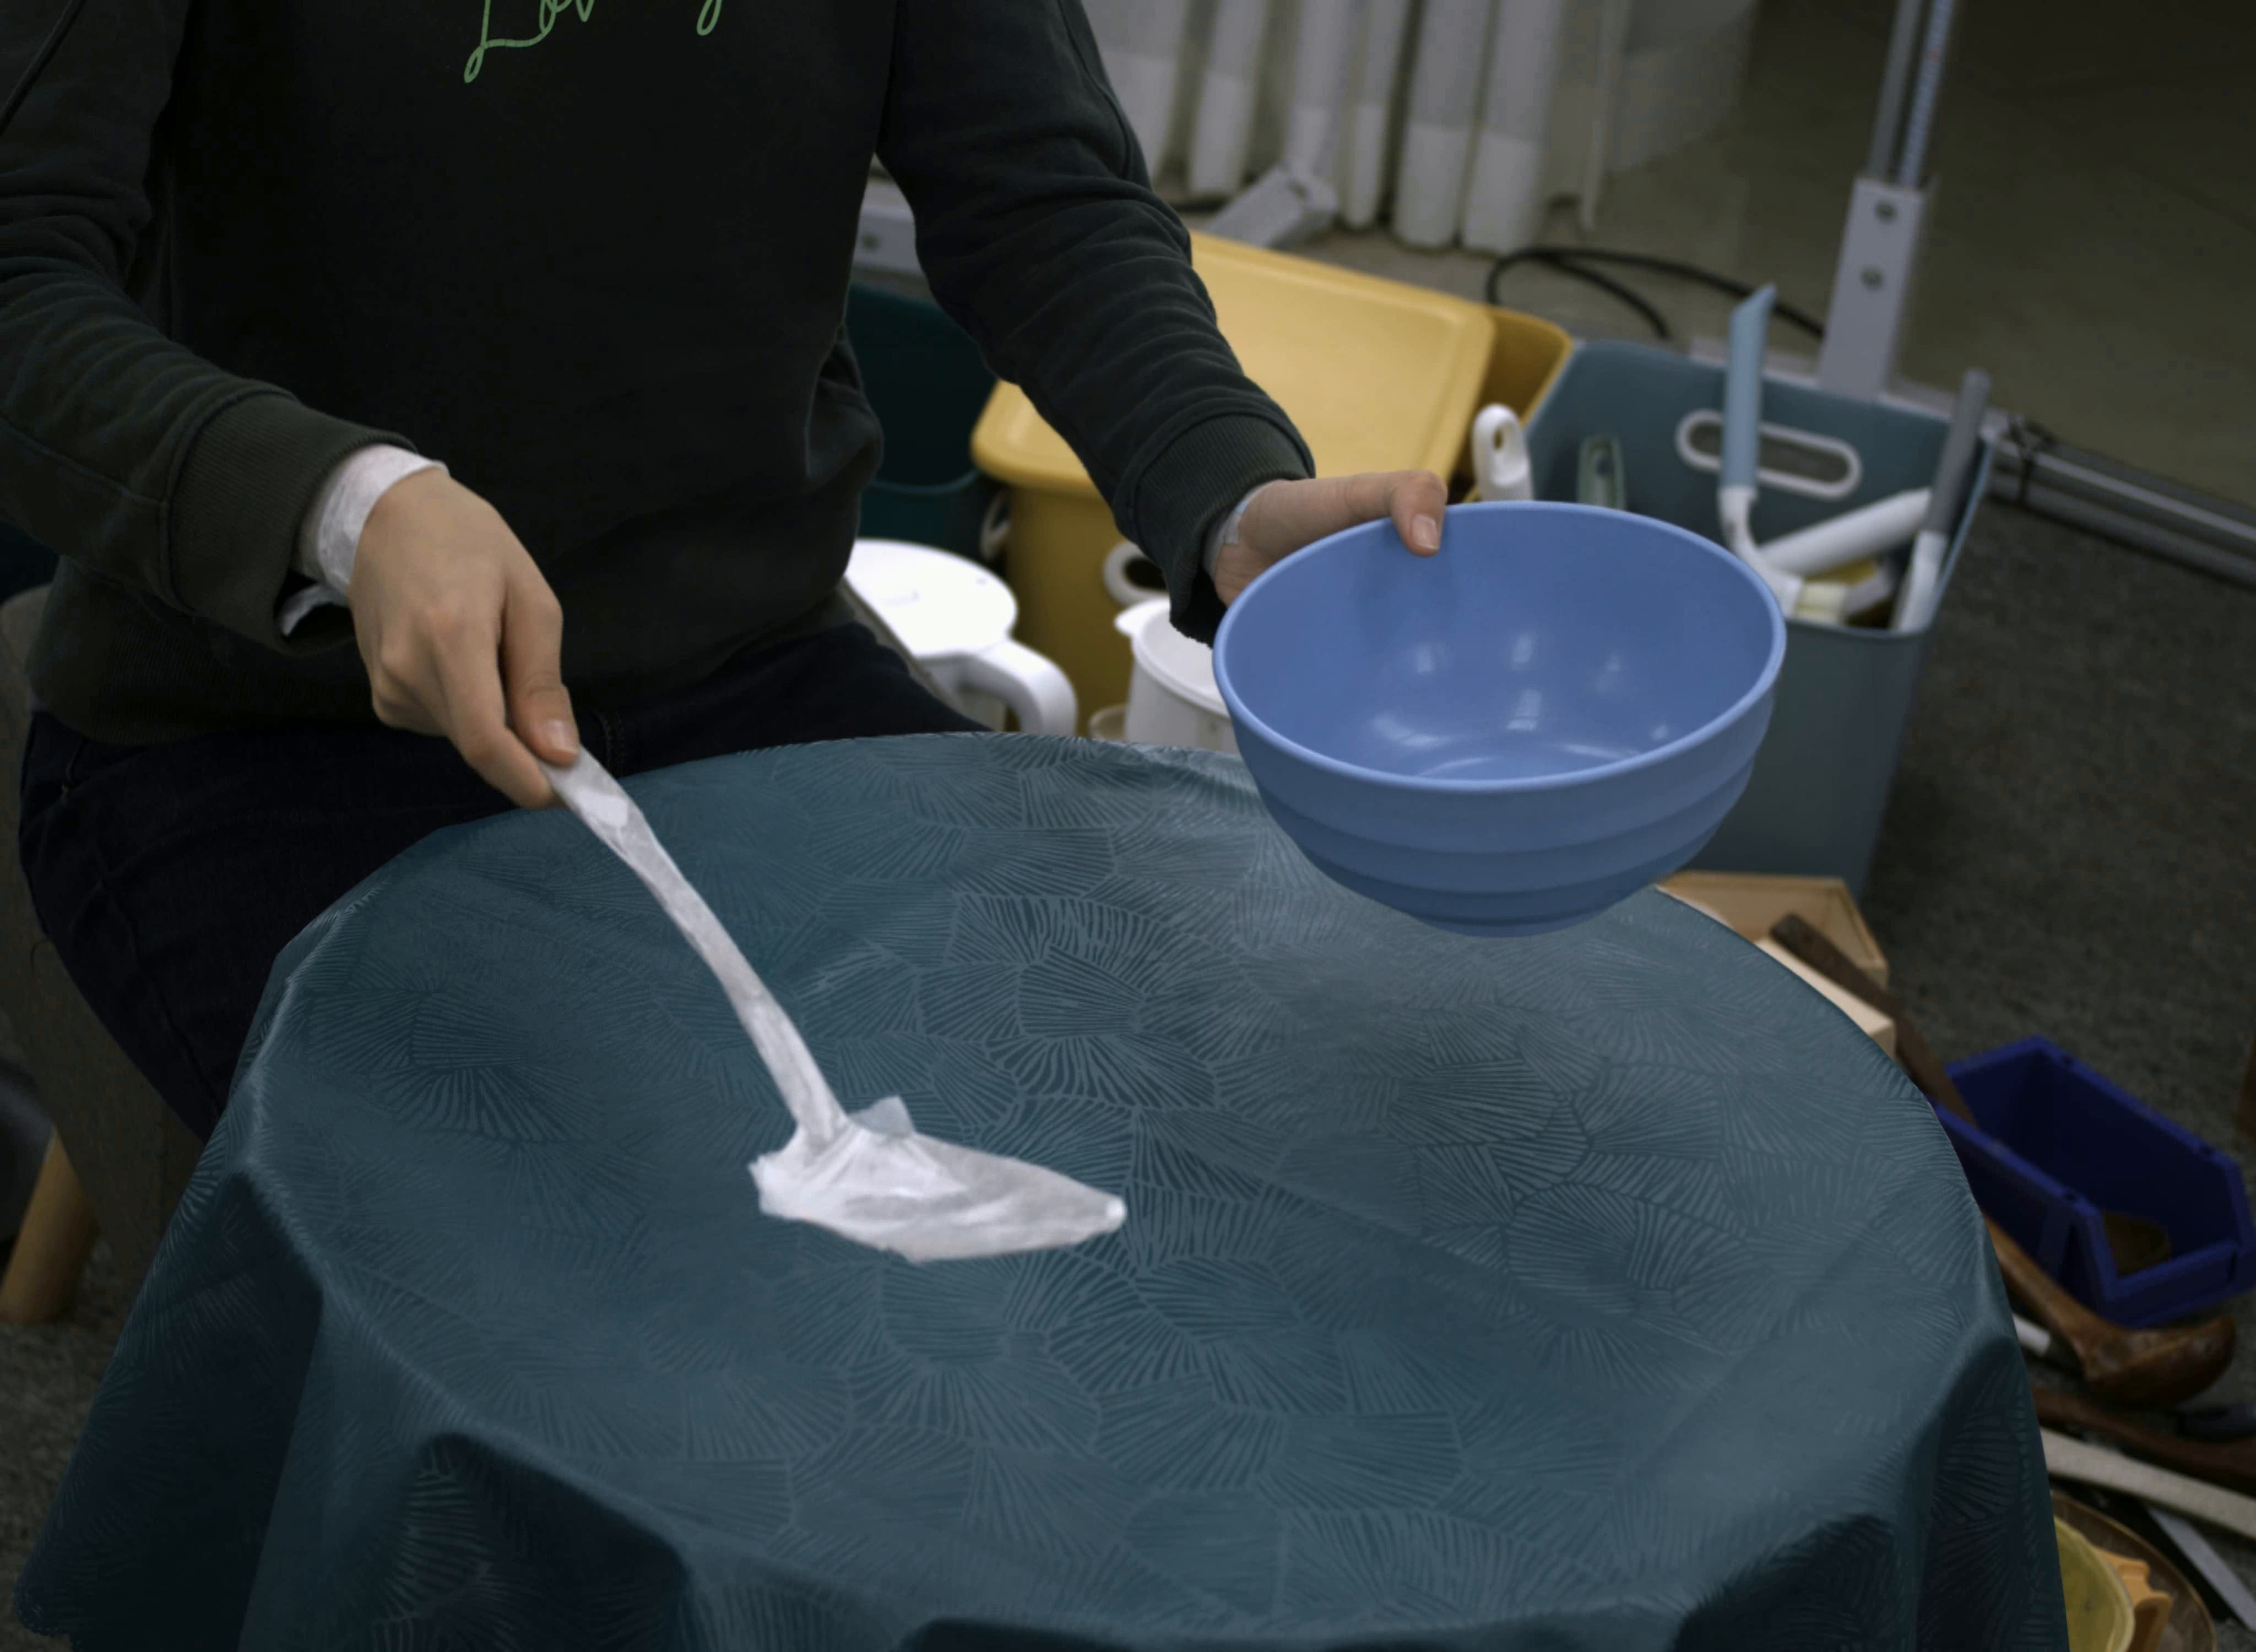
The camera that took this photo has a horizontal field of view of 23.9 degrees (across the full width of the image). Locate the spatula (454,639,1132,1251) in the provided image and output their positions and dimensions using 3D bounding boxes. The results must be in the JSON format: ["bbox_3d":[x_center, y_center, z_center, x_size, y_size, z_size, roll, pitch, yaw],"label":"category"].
[{"bbox_3d":[-0.126,0.028,1.635,0.098,0.044,0.368,-6,39,-34],"label":"spatula"}]

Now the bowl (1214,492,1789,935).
[{"bbox_3d":[0.130,-0.026,1.838,0.196,0.095,0.198,-4,33,2],"label":"bowl"}]
